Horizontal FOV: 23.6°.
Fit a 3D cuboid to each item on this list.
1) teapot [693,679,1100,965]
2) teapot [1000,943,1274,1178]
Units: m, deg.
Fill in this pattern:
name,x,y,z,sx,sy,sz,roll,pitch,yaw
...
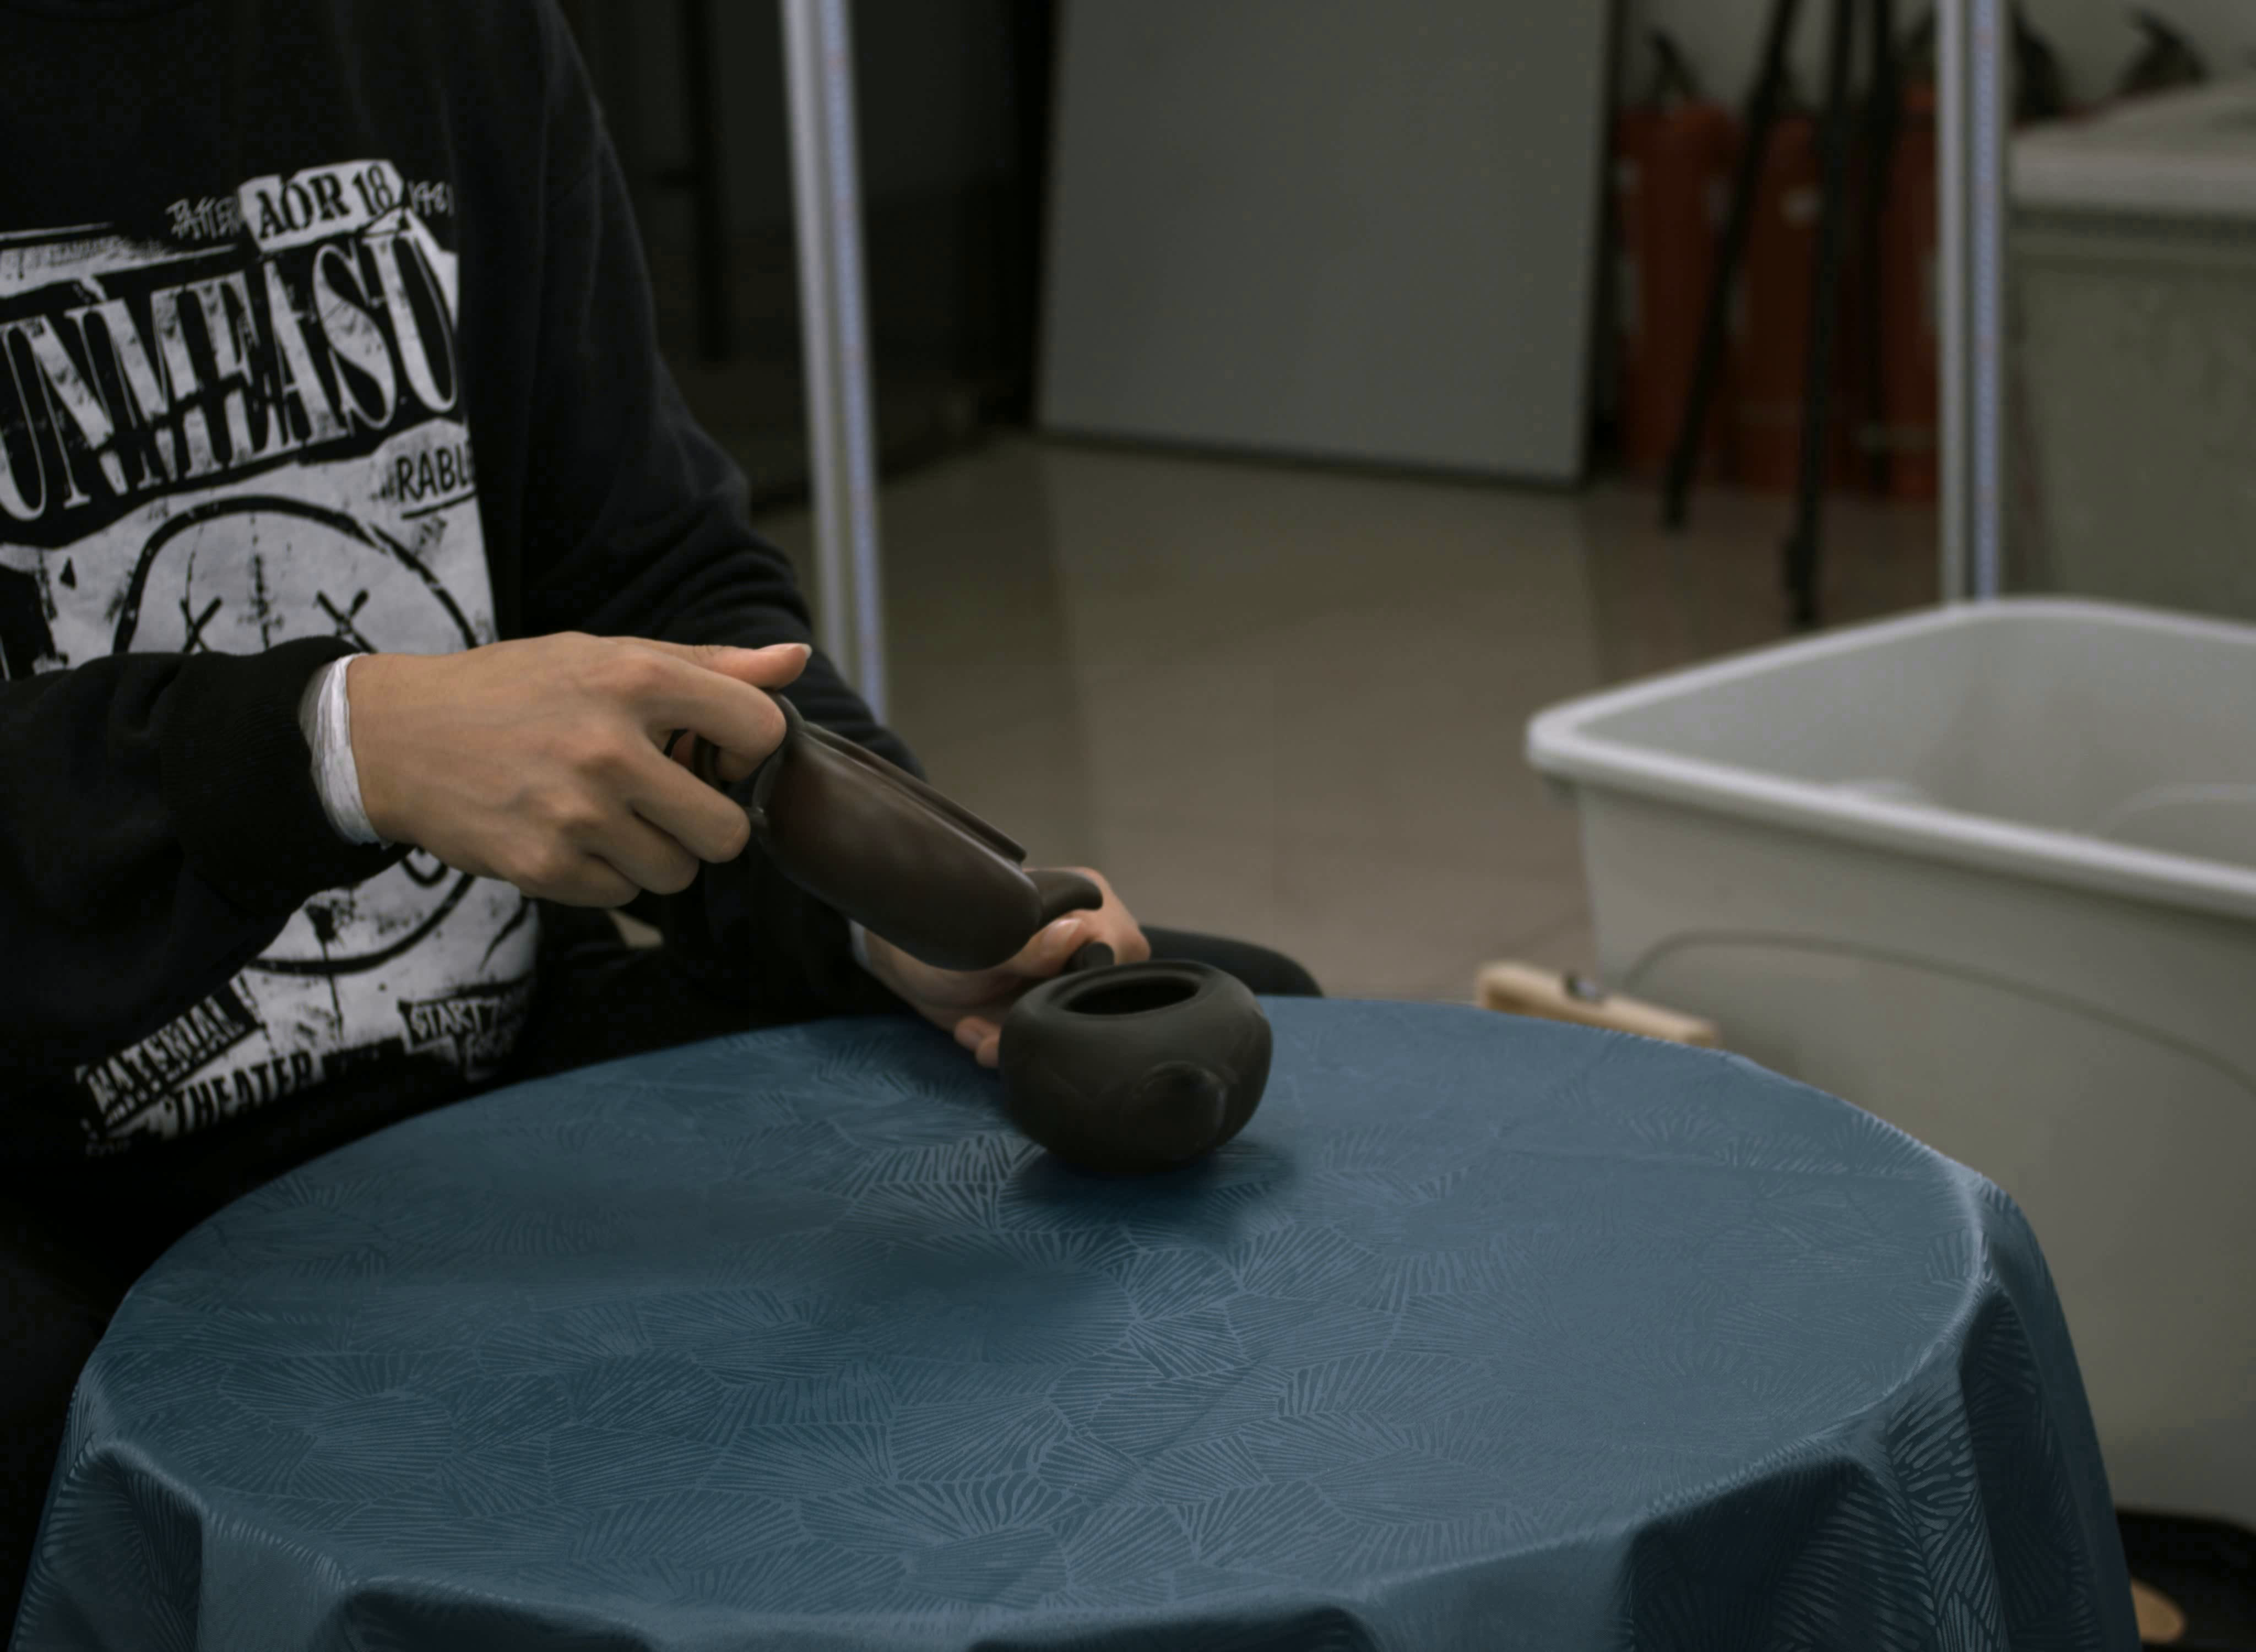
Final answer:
name,x,y,z,sx,sy,sz,roll,pitch,yaw
teapot,-0.077,0.004,1.734,0.151,0.054,0.104,34,-7,-30
teapot,0.002,0.079,1.806,0.090,0.065,0.155,-8,16,-13
